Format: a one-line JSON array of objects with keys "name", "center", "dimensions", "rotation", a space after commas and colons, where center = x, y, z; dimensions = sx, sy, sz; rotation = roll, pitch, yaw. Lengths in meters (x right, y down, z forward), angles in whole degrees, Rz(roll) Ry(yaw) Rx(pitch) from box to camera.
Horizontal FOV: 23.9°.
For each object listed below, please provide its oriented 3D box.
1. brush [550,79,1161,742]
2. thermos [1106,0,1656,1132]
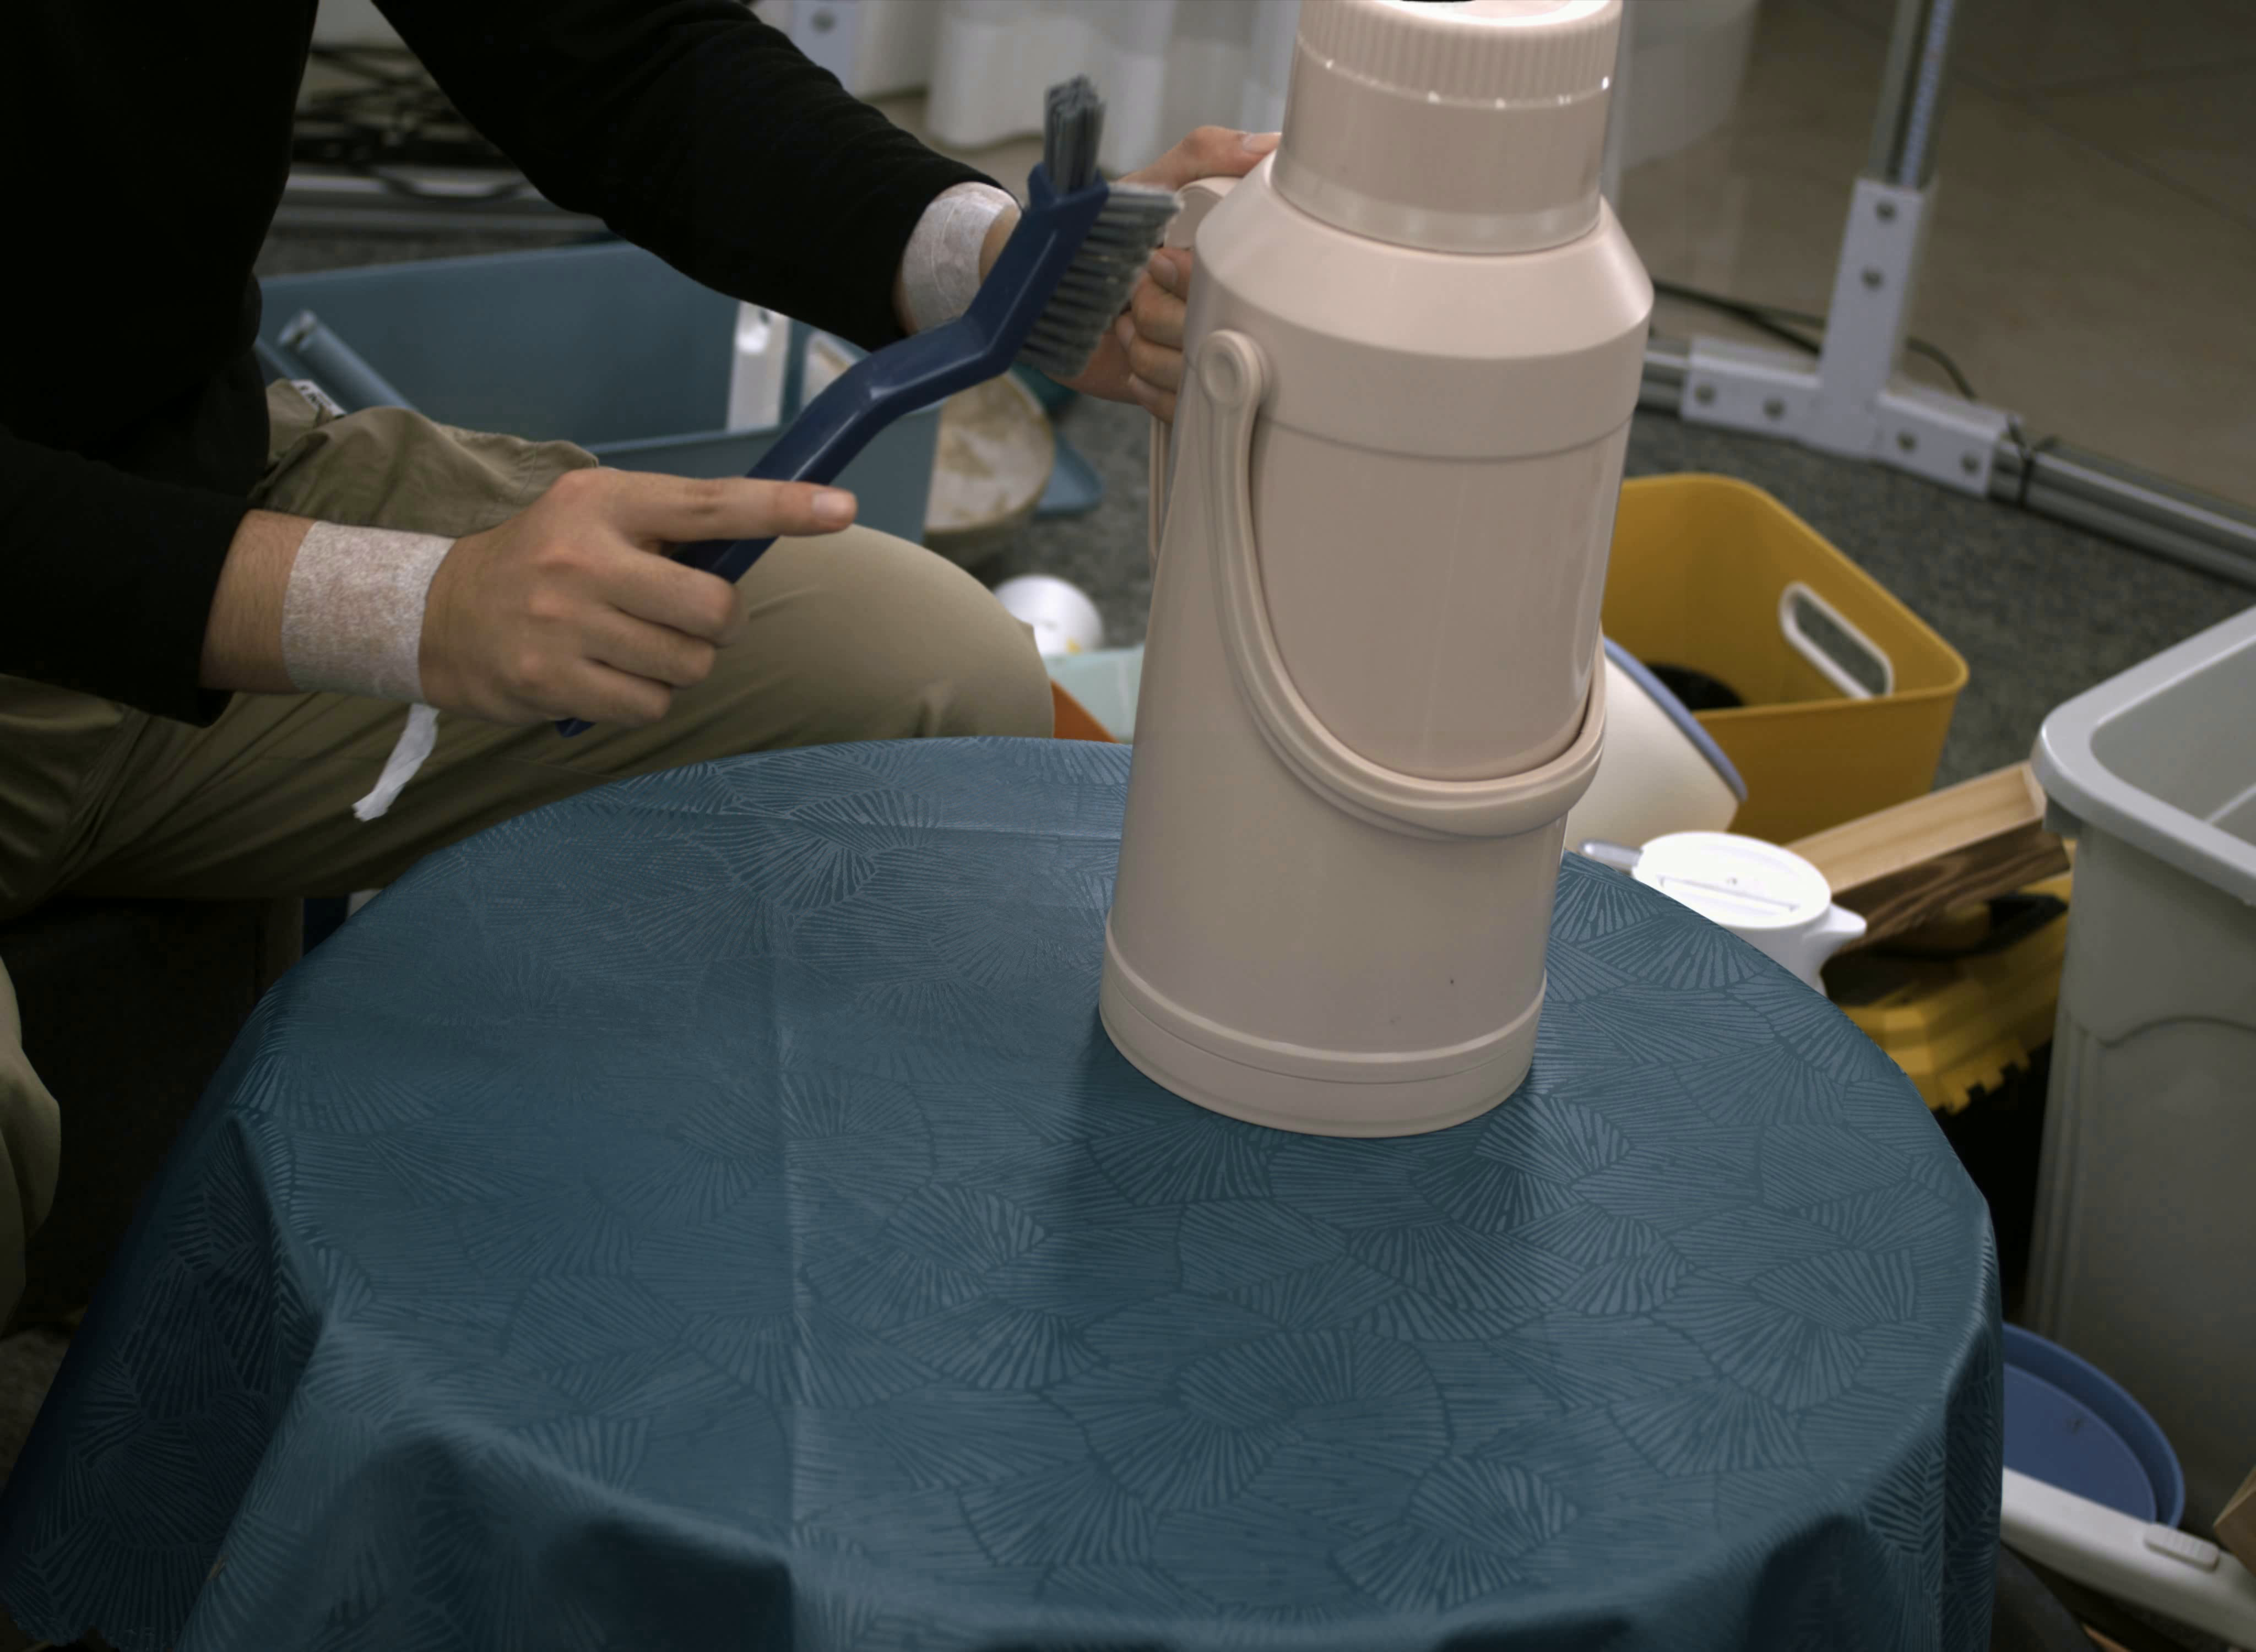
[{"name": "brush", "center": [-0.103, -0.134, 1.760], "dimensions": [0.095, 0.273, 0.034], "rotation": [41, 16, -43]}, {"name": "thermos", "center": [0.082, -0.110, 1.843], "dimensions": [0.174, 0.405, 0.209], "rotation": [-18, 36, -37]}]
